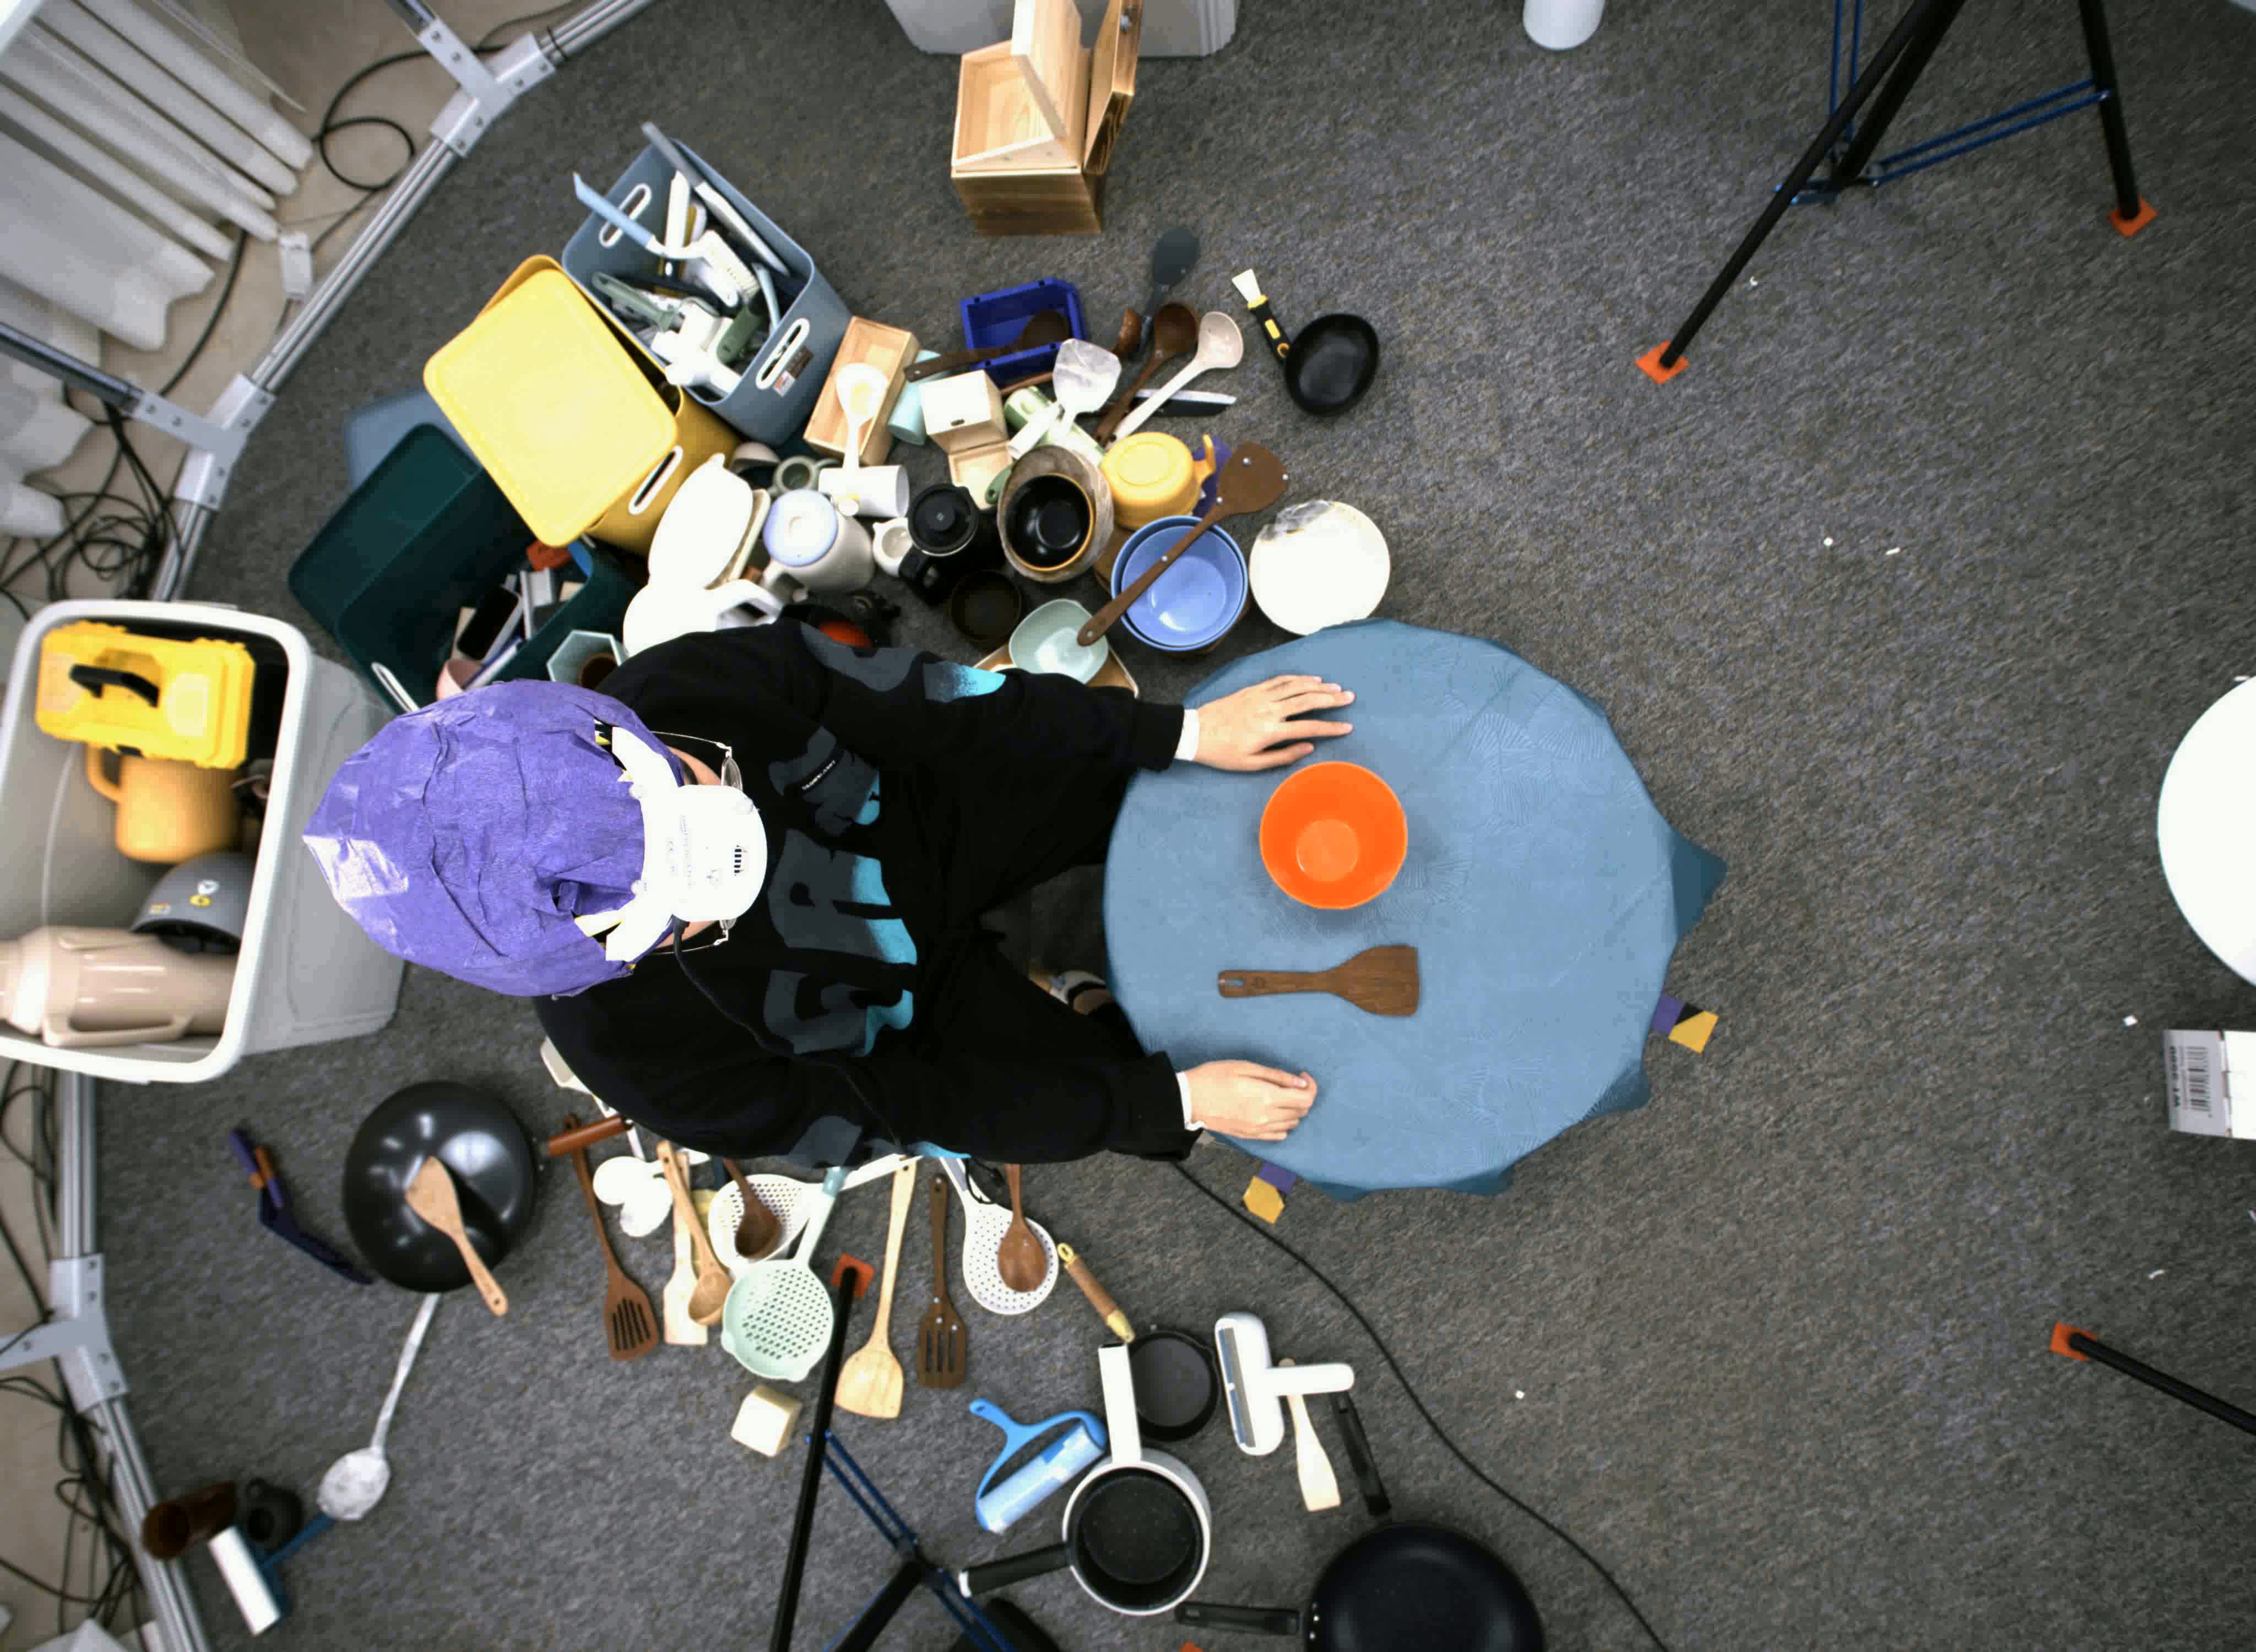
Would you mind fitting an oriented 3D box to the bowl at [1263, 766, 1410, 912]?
[{"bbox_3d":[0.216,0.017,1.428,0.148,0.104,0.147,-1,86,11],"label":"bowl"}]

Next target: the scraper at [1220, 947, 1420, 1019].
[{"bbox_3d":[0.202,0.167,1.467,0.212,0.011,0.075,-2,84,11],"label":"scraper"}]
